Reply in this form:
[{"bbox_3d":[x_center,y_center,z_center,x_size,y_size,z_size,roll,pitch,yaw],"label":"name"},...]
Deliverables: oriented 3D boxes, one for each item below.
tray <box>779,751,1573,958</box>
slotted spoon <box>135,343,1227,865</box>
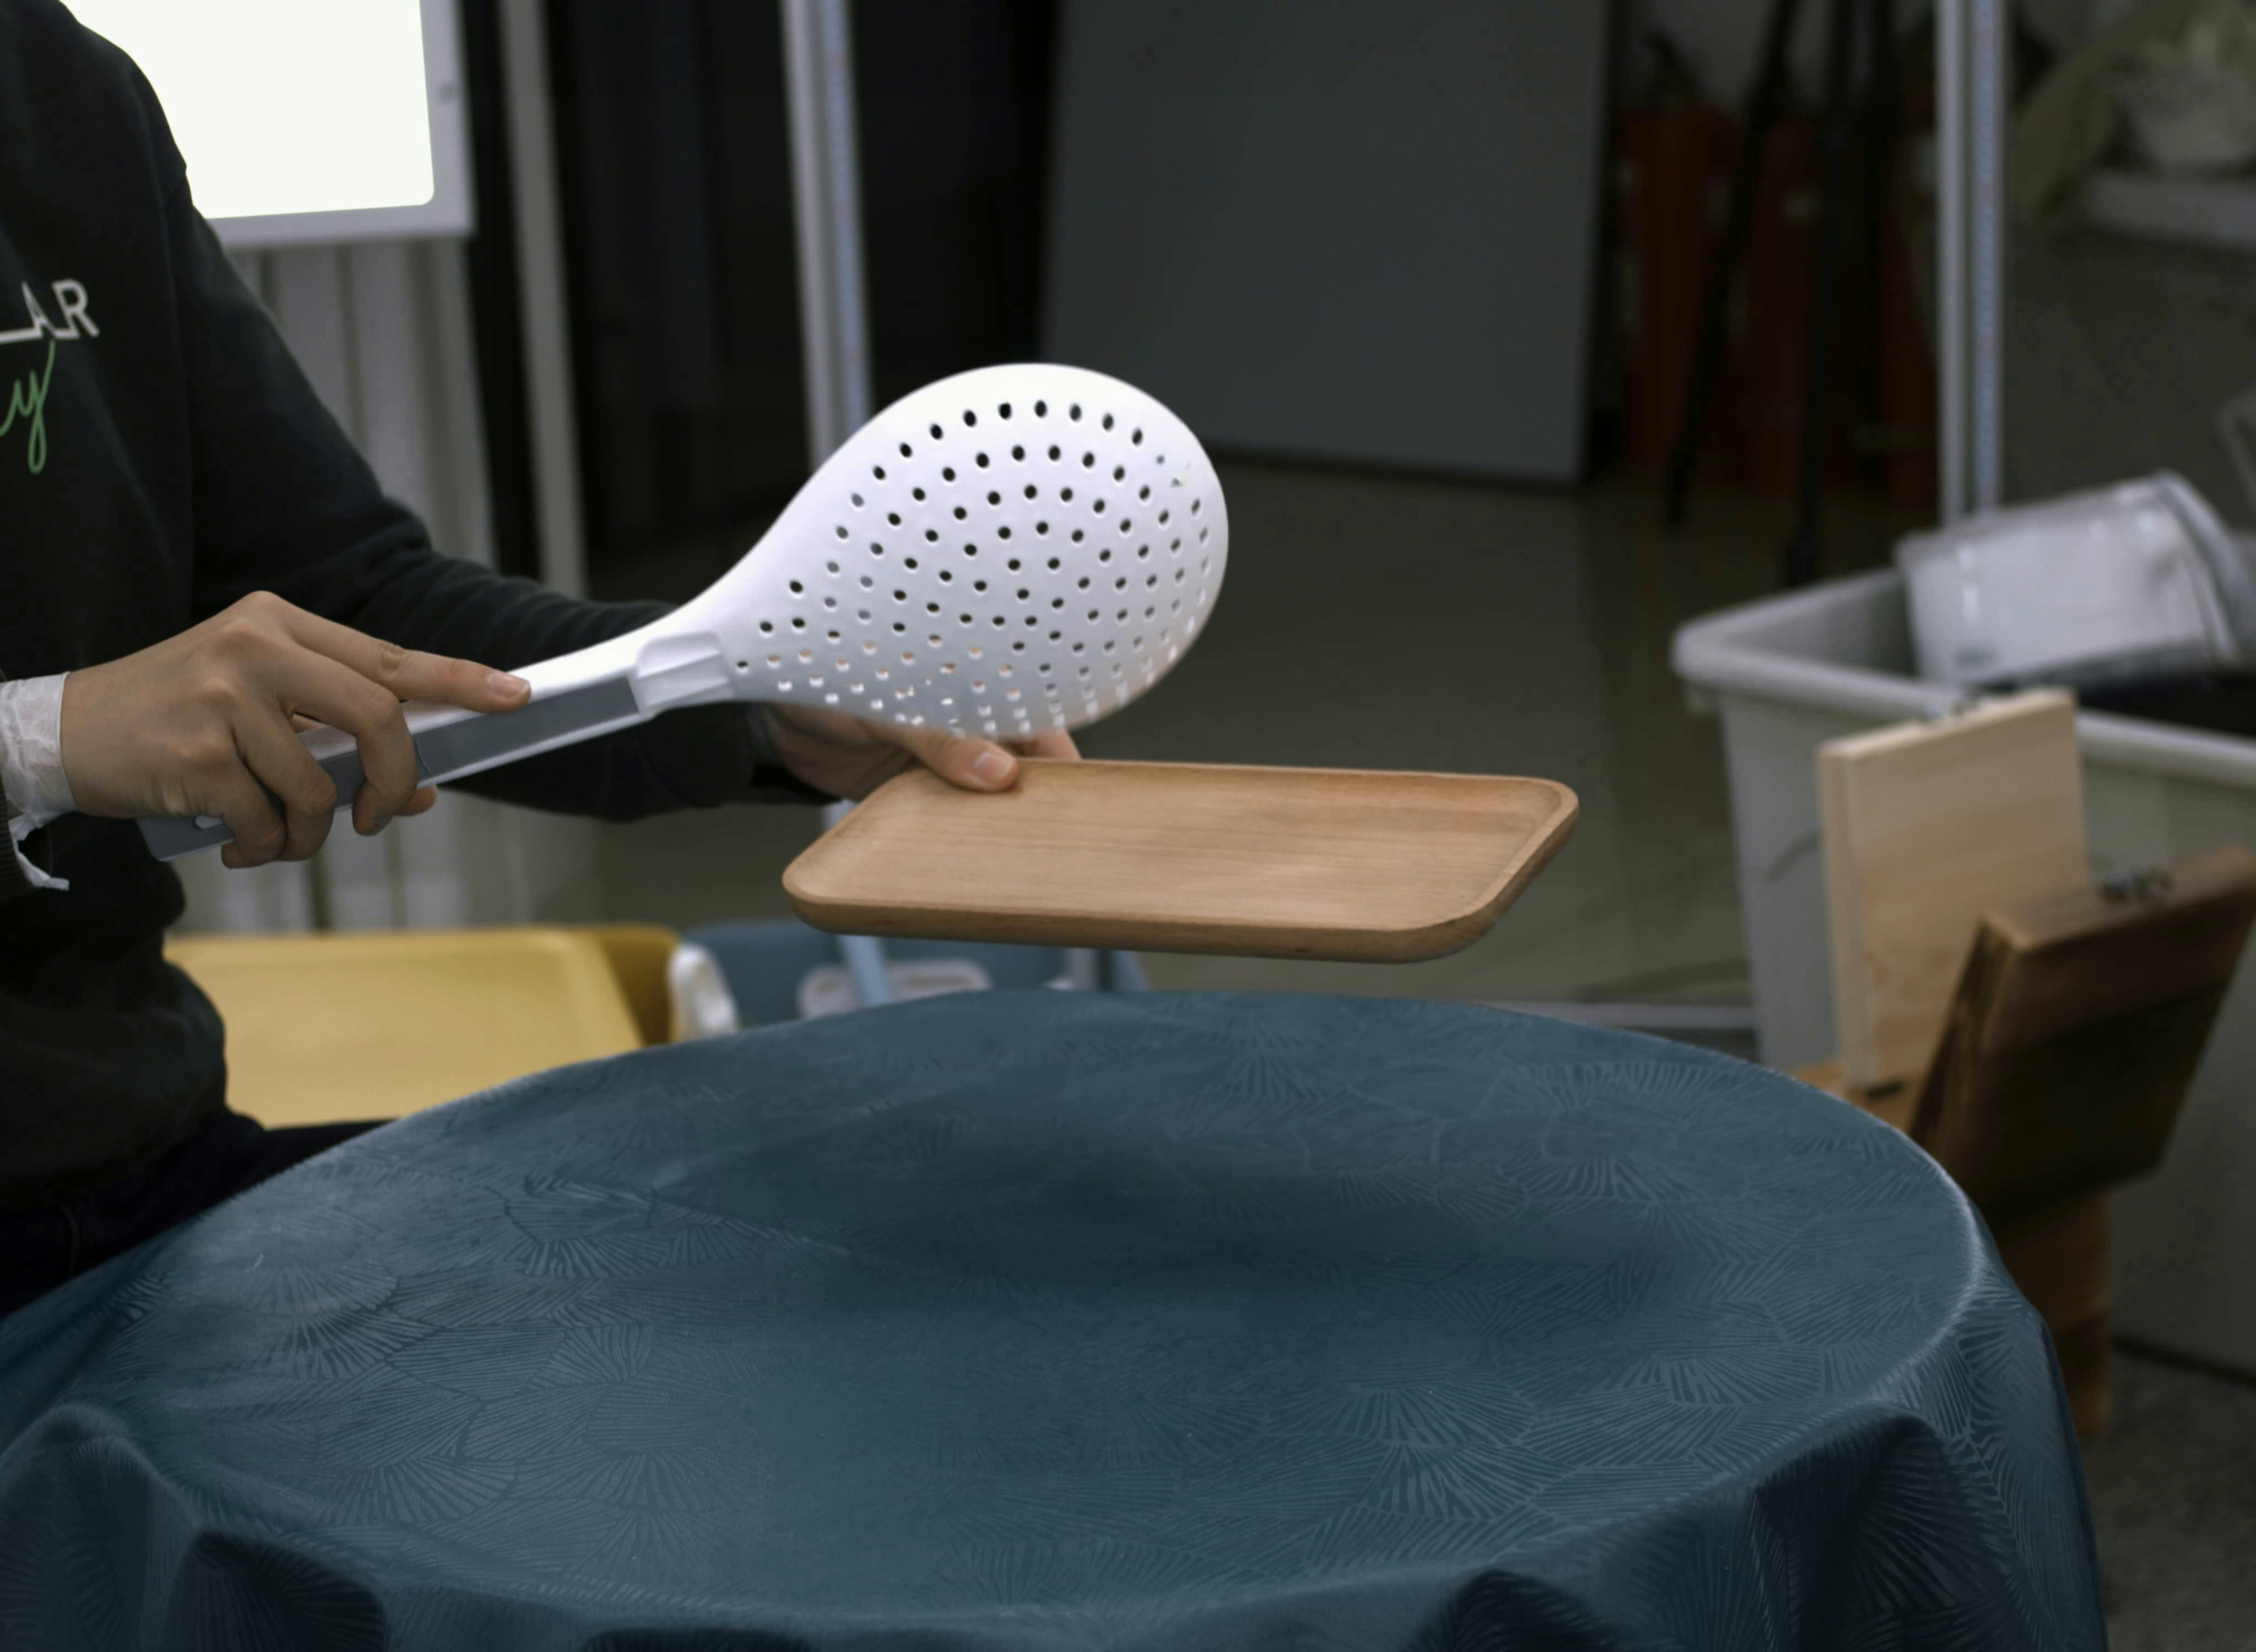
[{"bbox_3d":[0.015,0.008,1.741,0.251,0.023,0.129,1,21,28],"label":"tray"},{"bbox_3d":[-0.136,-0.051,1.664,0.346,0.136,0.046,-14,30,4],"label":"slotted spoon"}]
